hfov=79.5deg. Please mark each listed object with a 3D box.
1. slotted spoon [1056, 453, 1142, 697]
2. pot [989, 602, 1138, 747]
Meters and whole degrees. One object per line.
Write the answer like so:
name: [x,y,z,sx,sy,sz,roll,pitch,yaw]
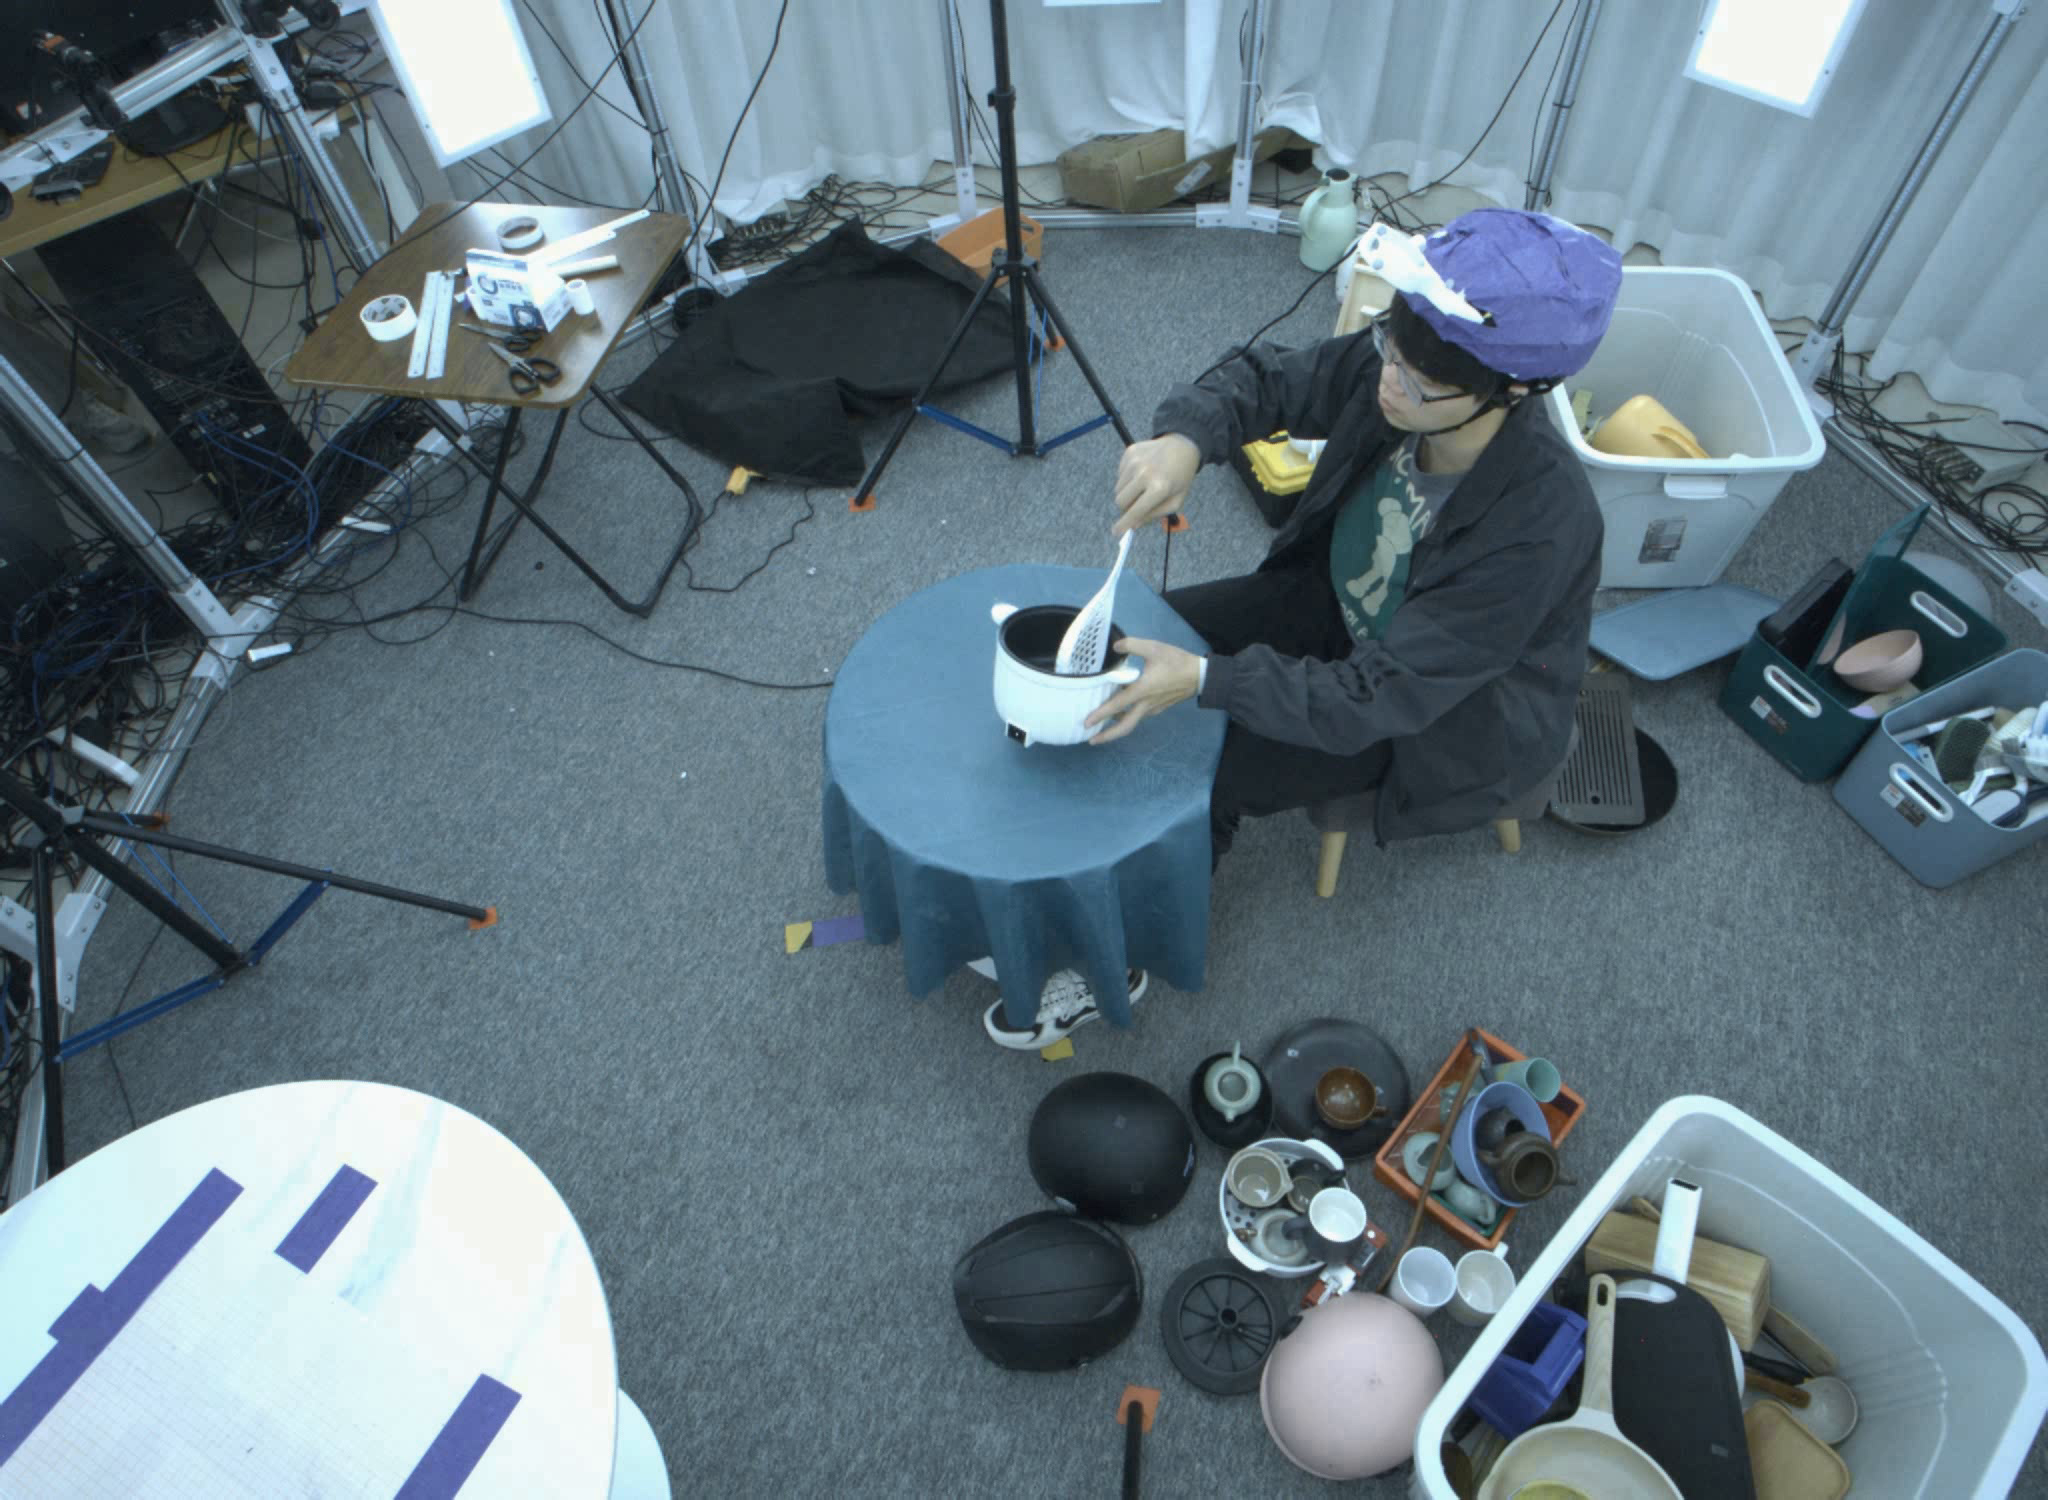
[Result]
slotted spoon: [0.111,-0.229,1.653,0.049,0.139,0.348,25,99,20]
pot: [0.048,-0.103,1.708,0.236,0.143,0.192,29,45,23]
